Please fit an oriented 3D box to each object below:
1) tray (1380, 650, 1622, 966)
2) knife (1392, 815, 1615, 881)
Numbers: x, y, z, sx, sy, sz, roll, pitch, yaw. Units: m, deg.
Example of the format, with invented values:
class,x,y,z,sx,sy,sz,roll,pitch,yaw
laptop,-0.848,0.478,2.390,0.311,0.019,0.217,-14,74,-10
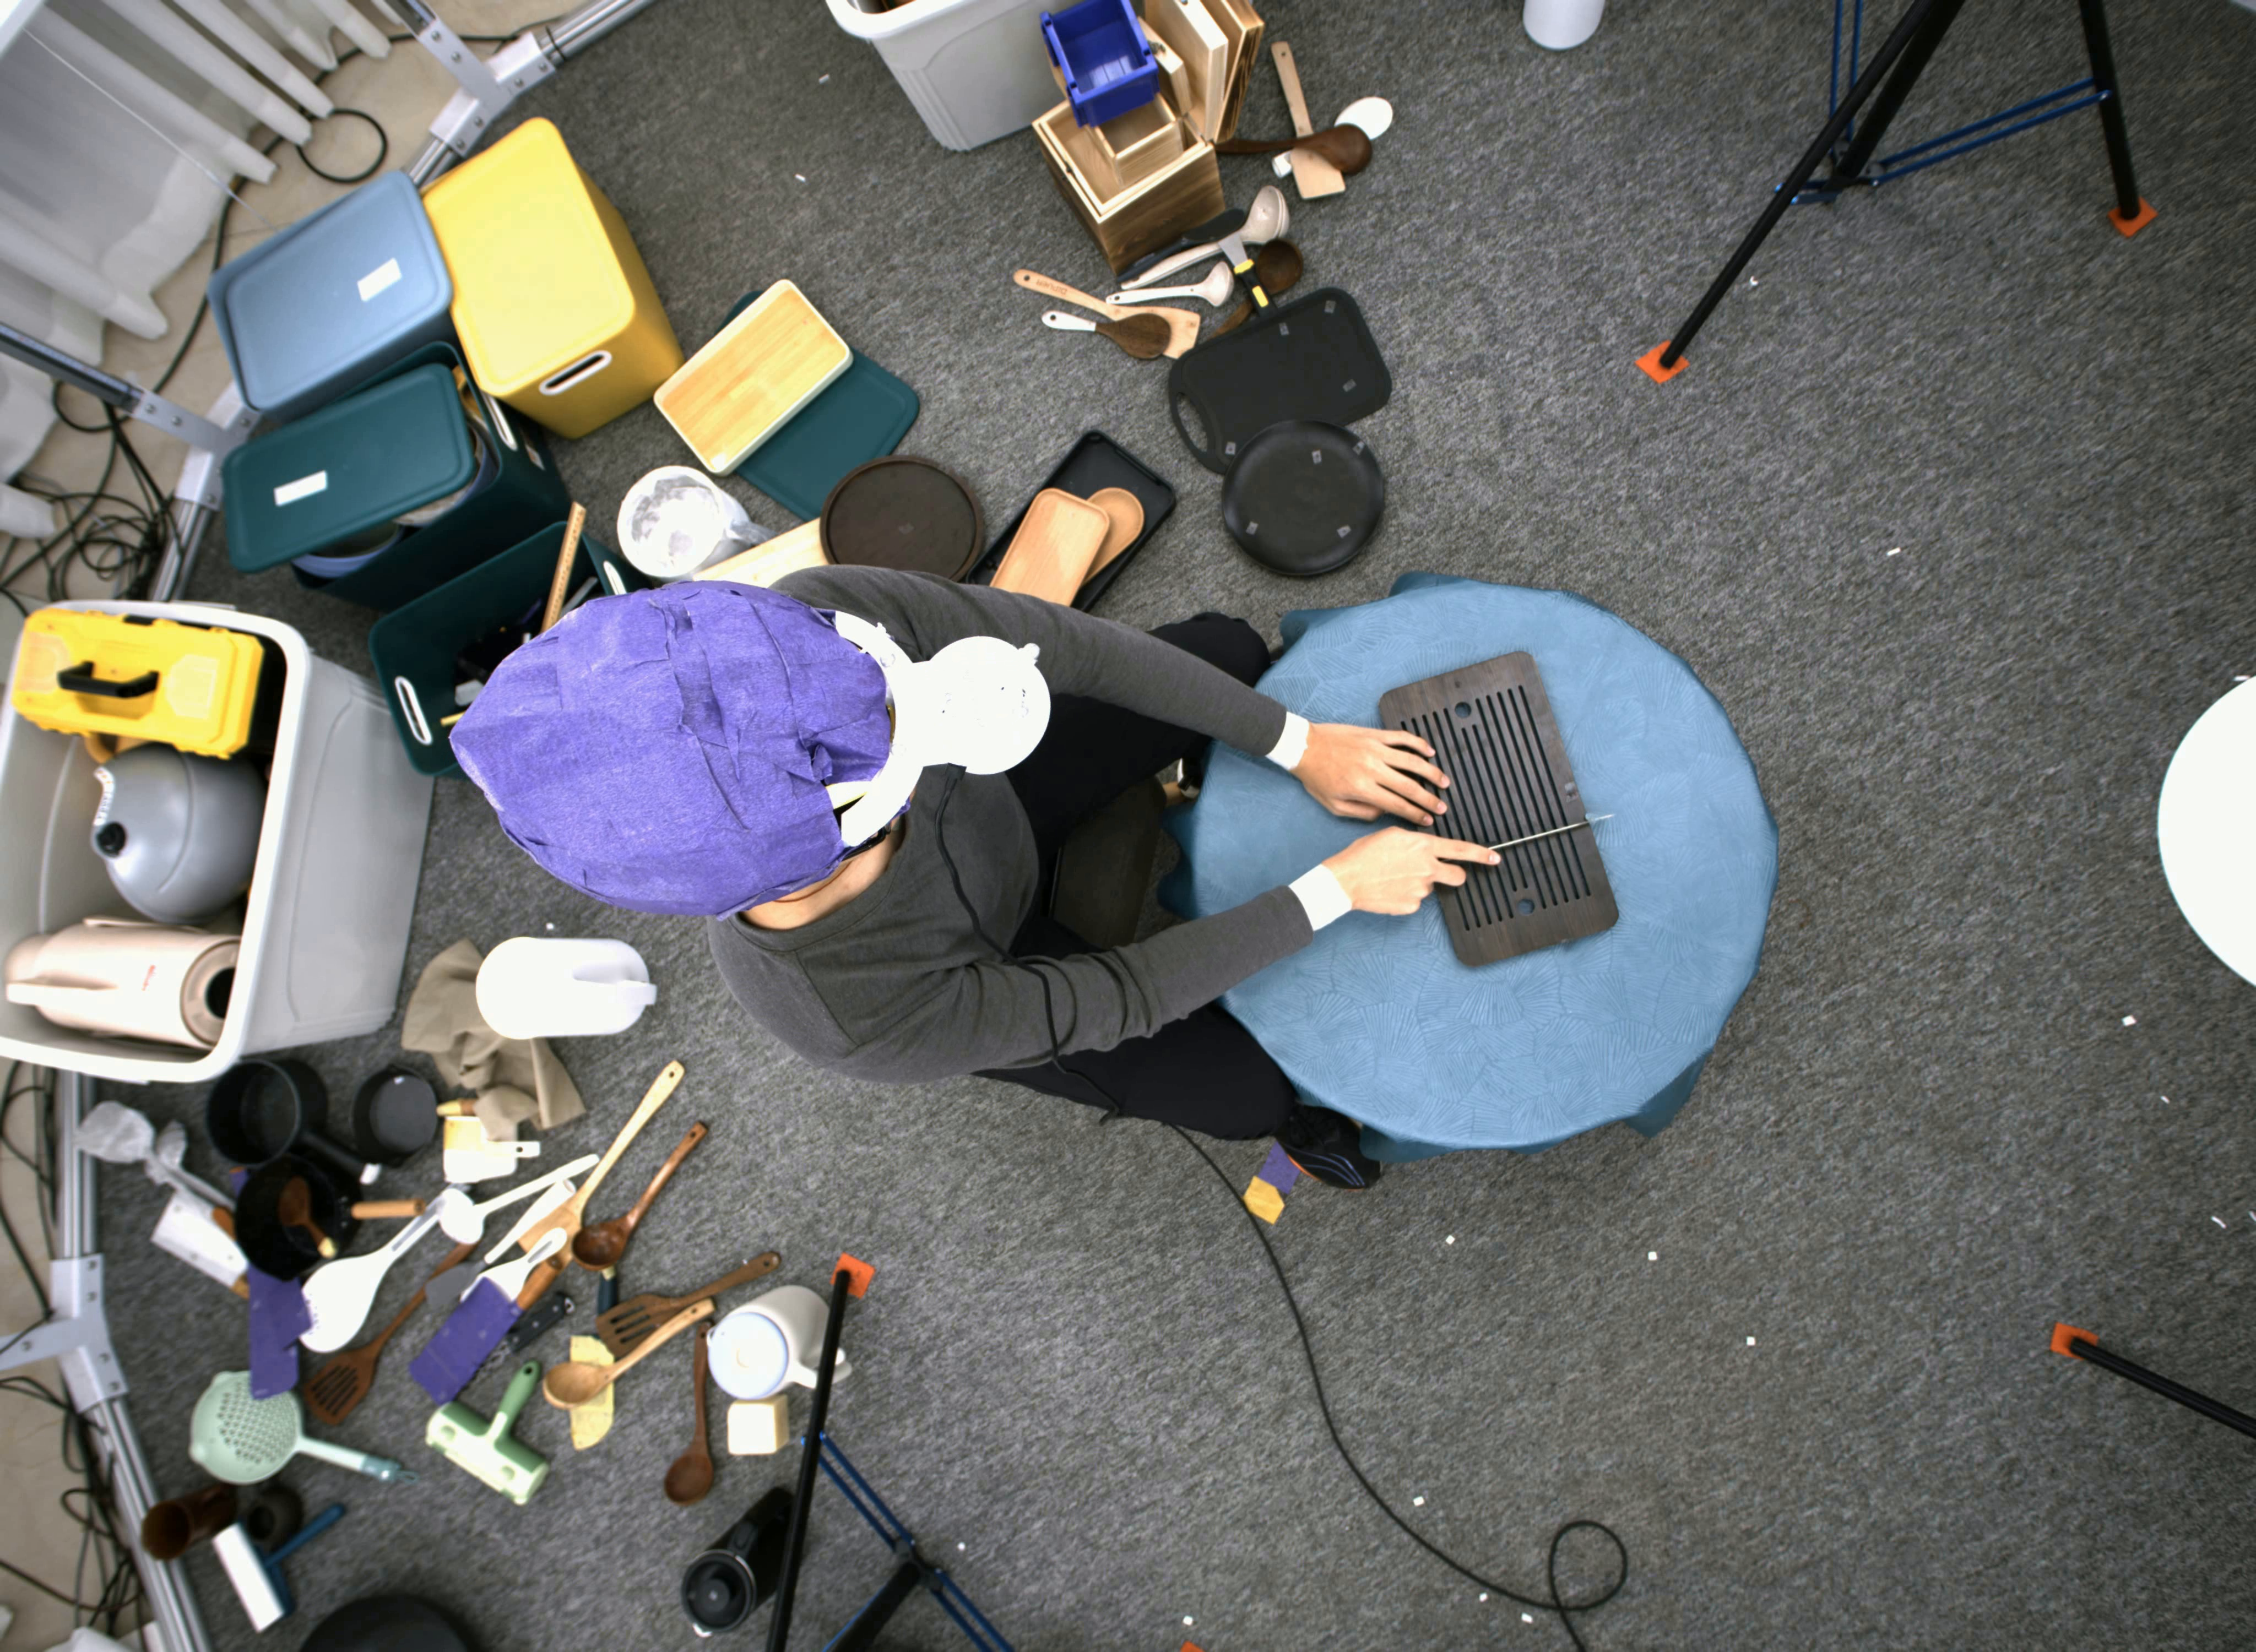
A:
class,x,y,z,sx,sy,sz,roll,pitch,yaw
tray,0.387,-0.022,1.434,0.171,0.018,0.304,-17,84,10
knife,0.385,0.017,1.403,0.238,0.024,0.016,-16,82,1
